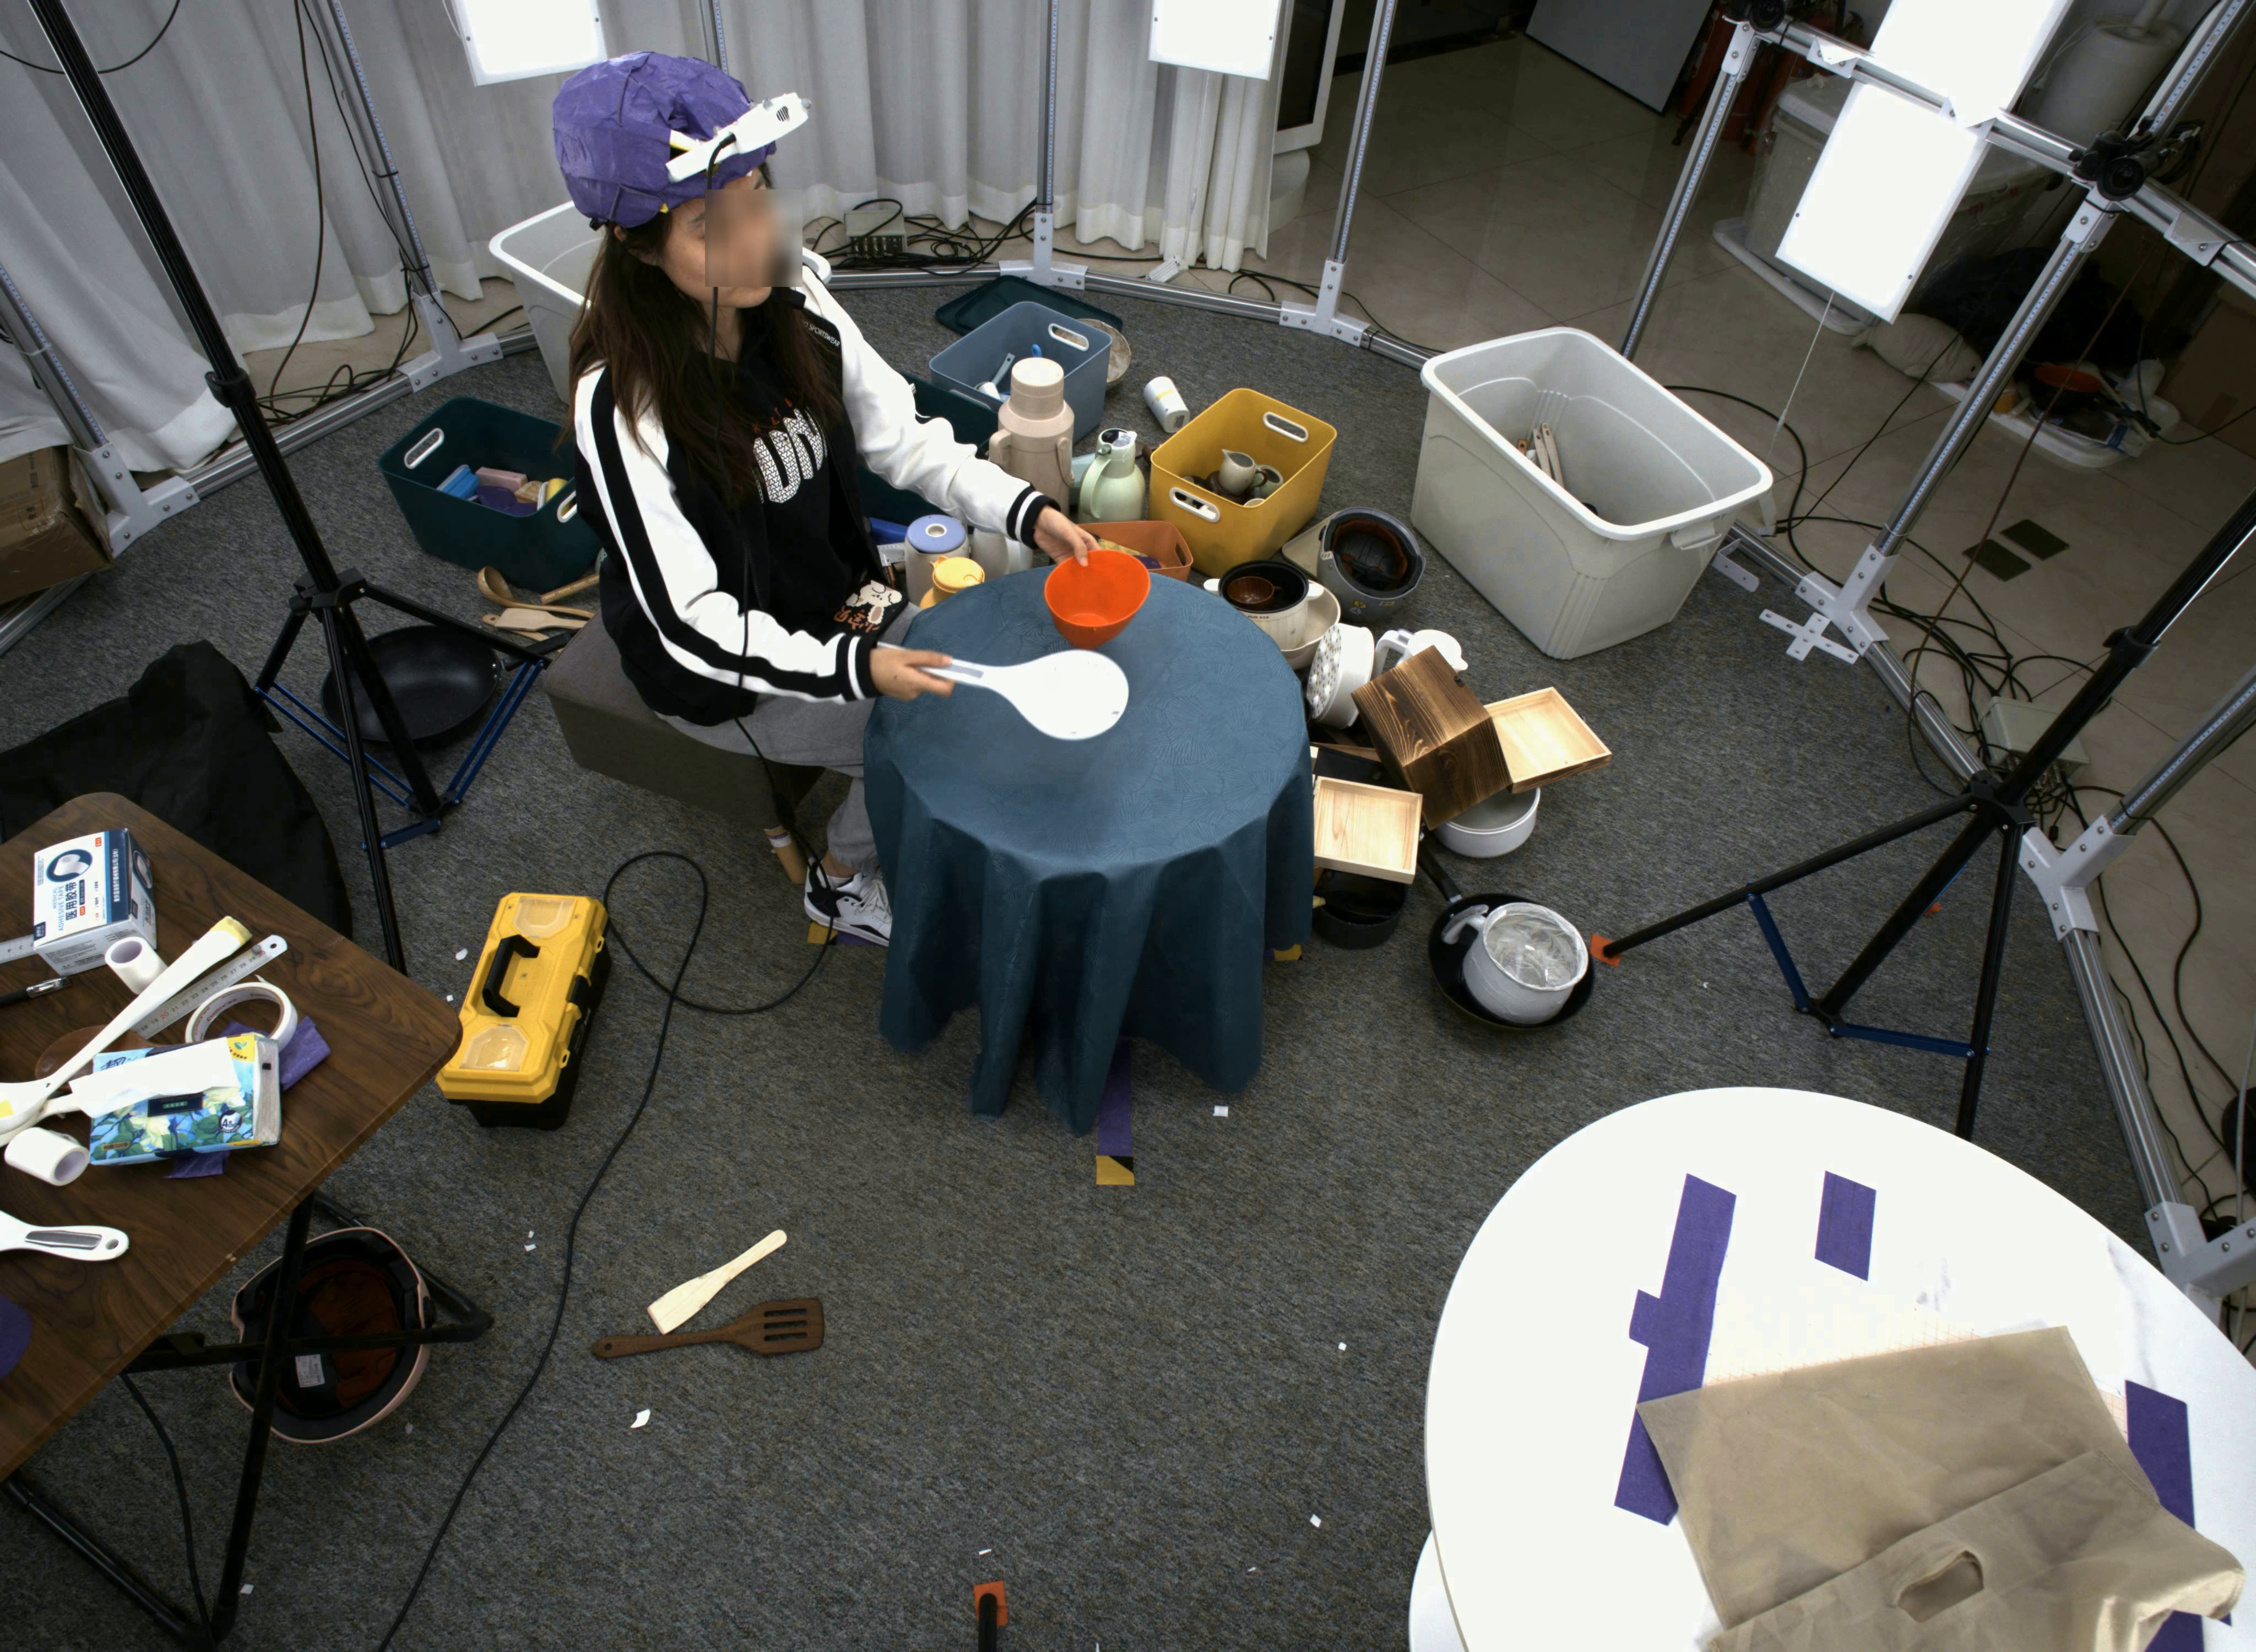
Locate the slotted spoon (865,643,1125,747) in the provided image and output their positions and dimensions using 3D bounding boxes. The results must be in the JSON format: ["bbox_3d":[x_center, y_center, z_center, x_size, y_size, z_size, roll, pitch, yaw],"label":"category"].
[{"bbox_3d":[-0.175,-0.183,1.667,0.350,0.045,0.138,17,60,6],"label":"slotted spoon"}]

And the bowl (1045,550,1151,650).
[{"bbox_3d":[-0.045,-0.310,1.830,0.148,0.102,0.151,2,56,-3],"label":"bowl"}]
